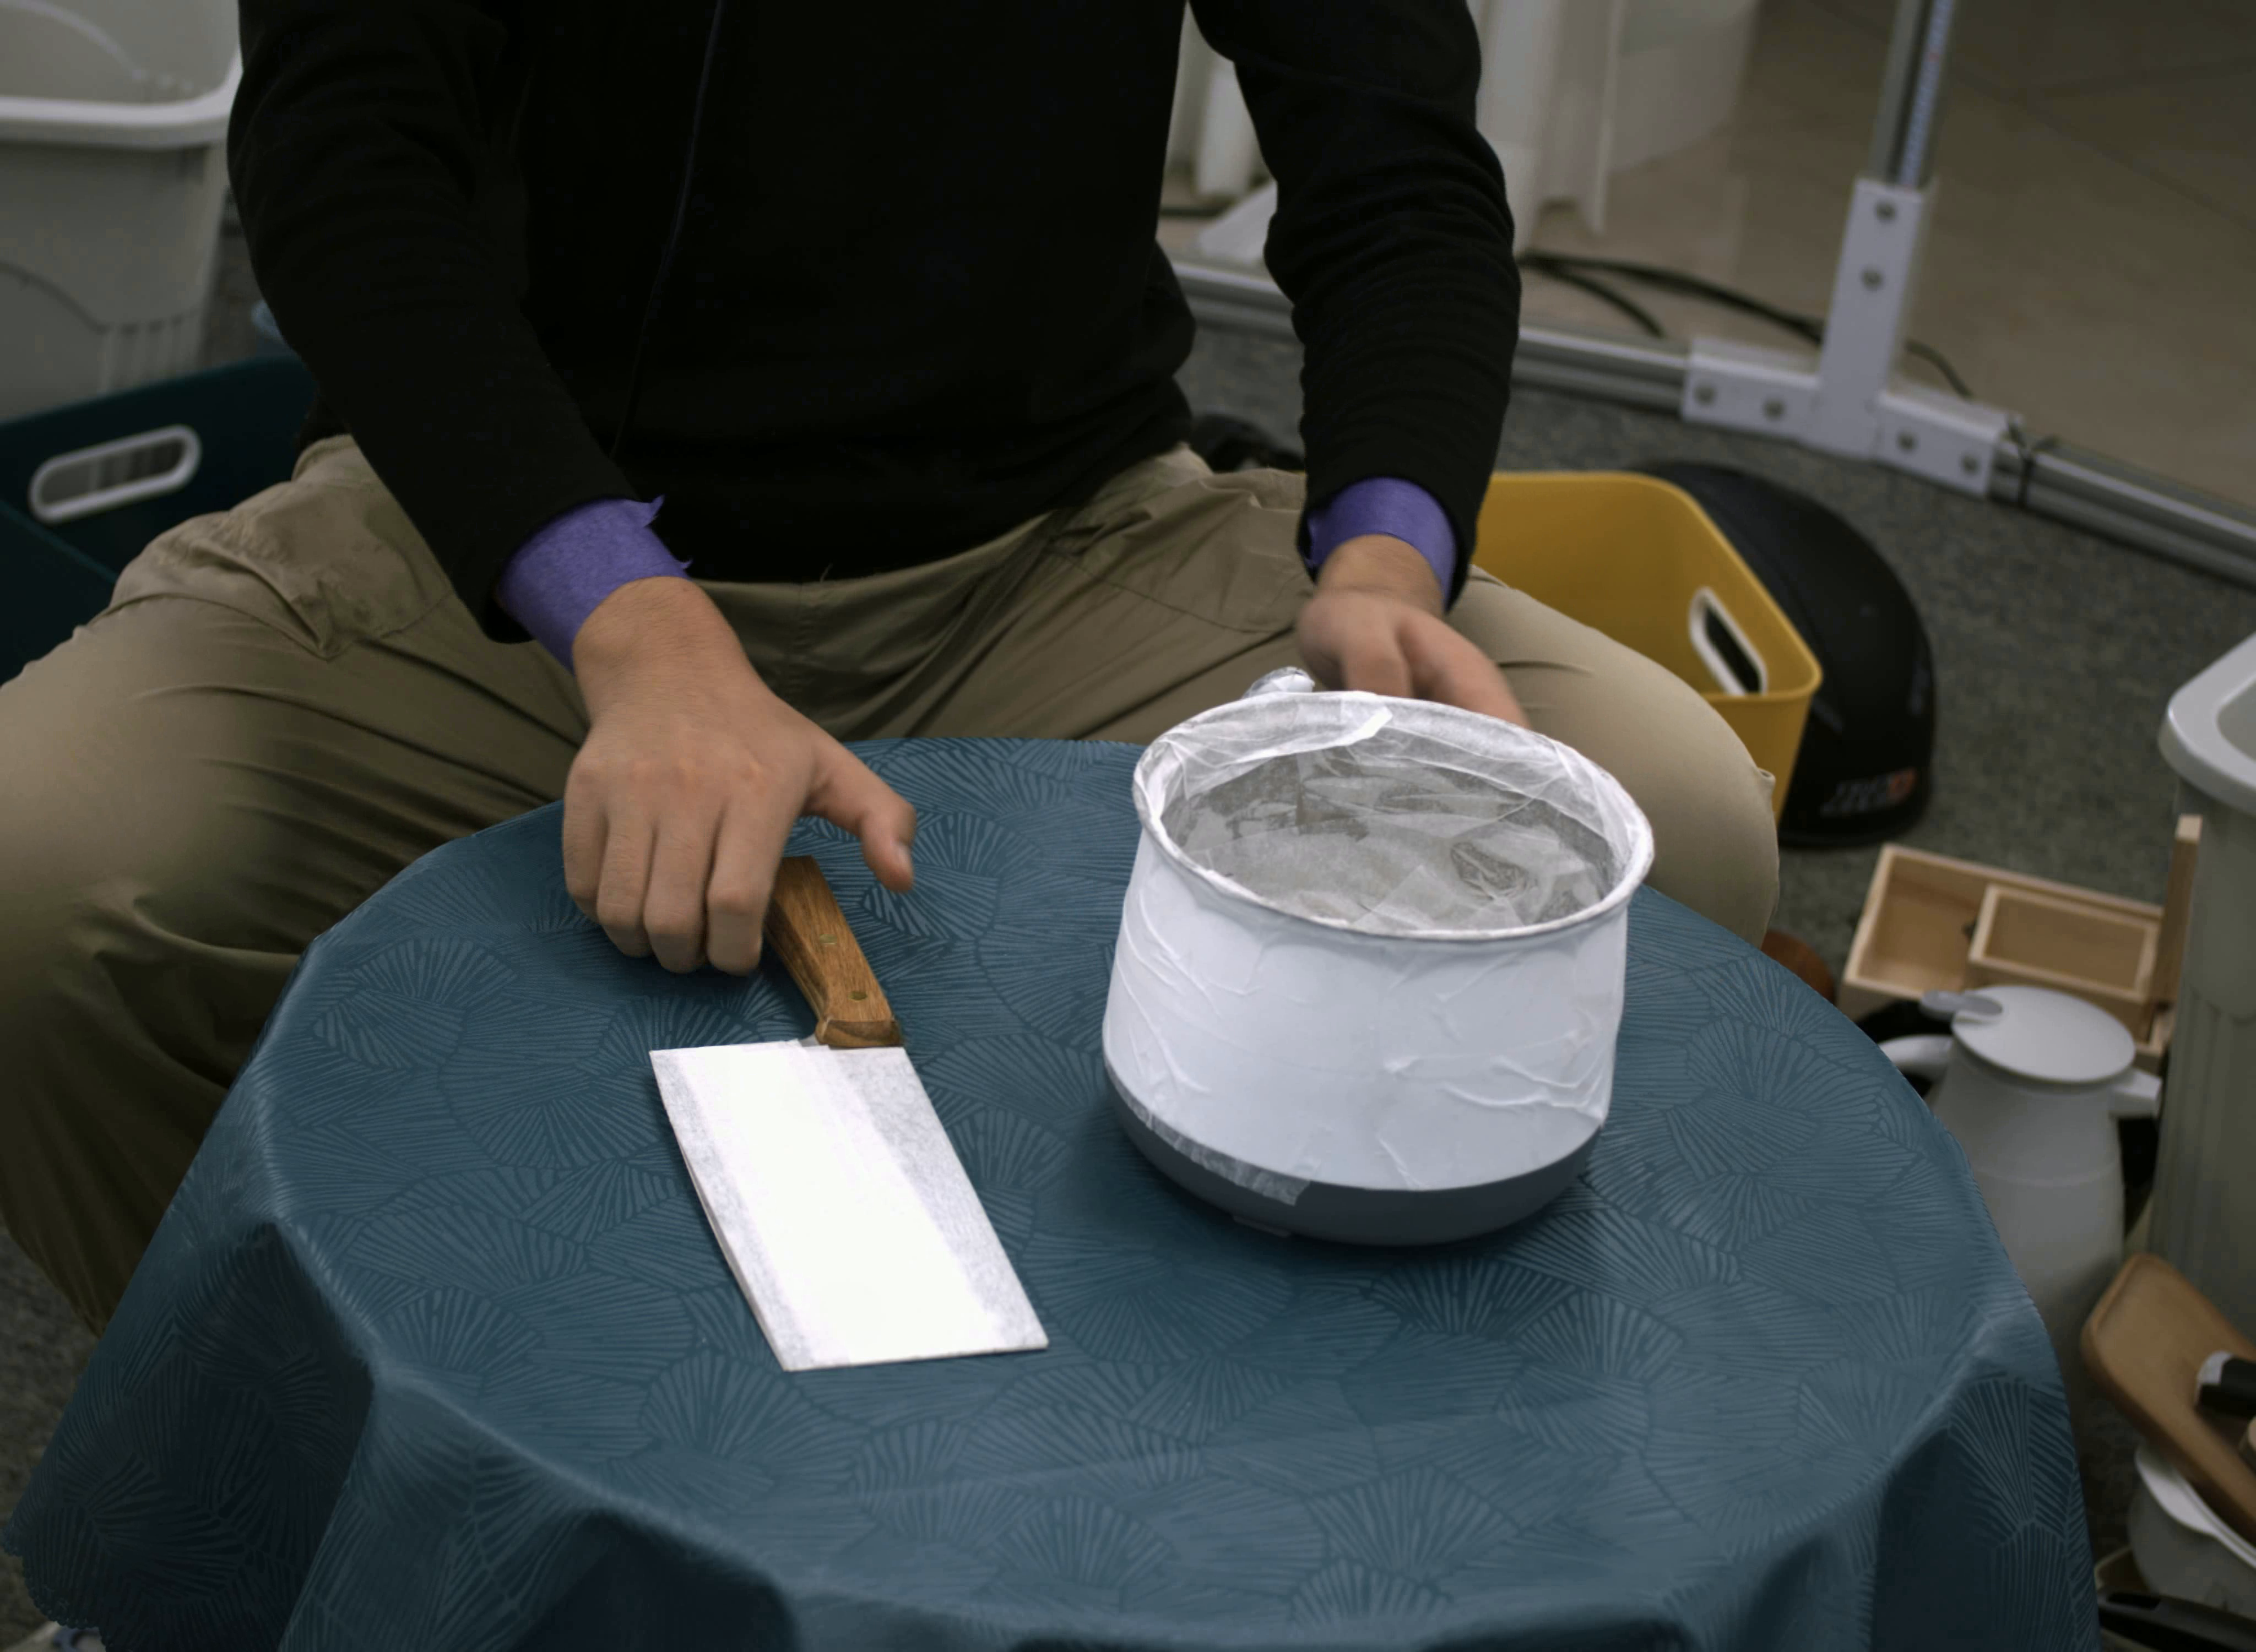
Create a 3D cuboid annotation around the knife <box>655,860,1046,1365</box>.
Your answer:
[{"bbox_3d":[-0.110,0.095,1.822,0.092,0.021,0.308,-3,30,-18],"label":"knife"}]

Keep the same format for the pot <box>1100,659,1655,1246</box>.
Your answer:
[{"bbox_3d":[0.072,0.036,1.839,0.177,0.136,0.236,-4,29,-21],"label":"pot"}]
